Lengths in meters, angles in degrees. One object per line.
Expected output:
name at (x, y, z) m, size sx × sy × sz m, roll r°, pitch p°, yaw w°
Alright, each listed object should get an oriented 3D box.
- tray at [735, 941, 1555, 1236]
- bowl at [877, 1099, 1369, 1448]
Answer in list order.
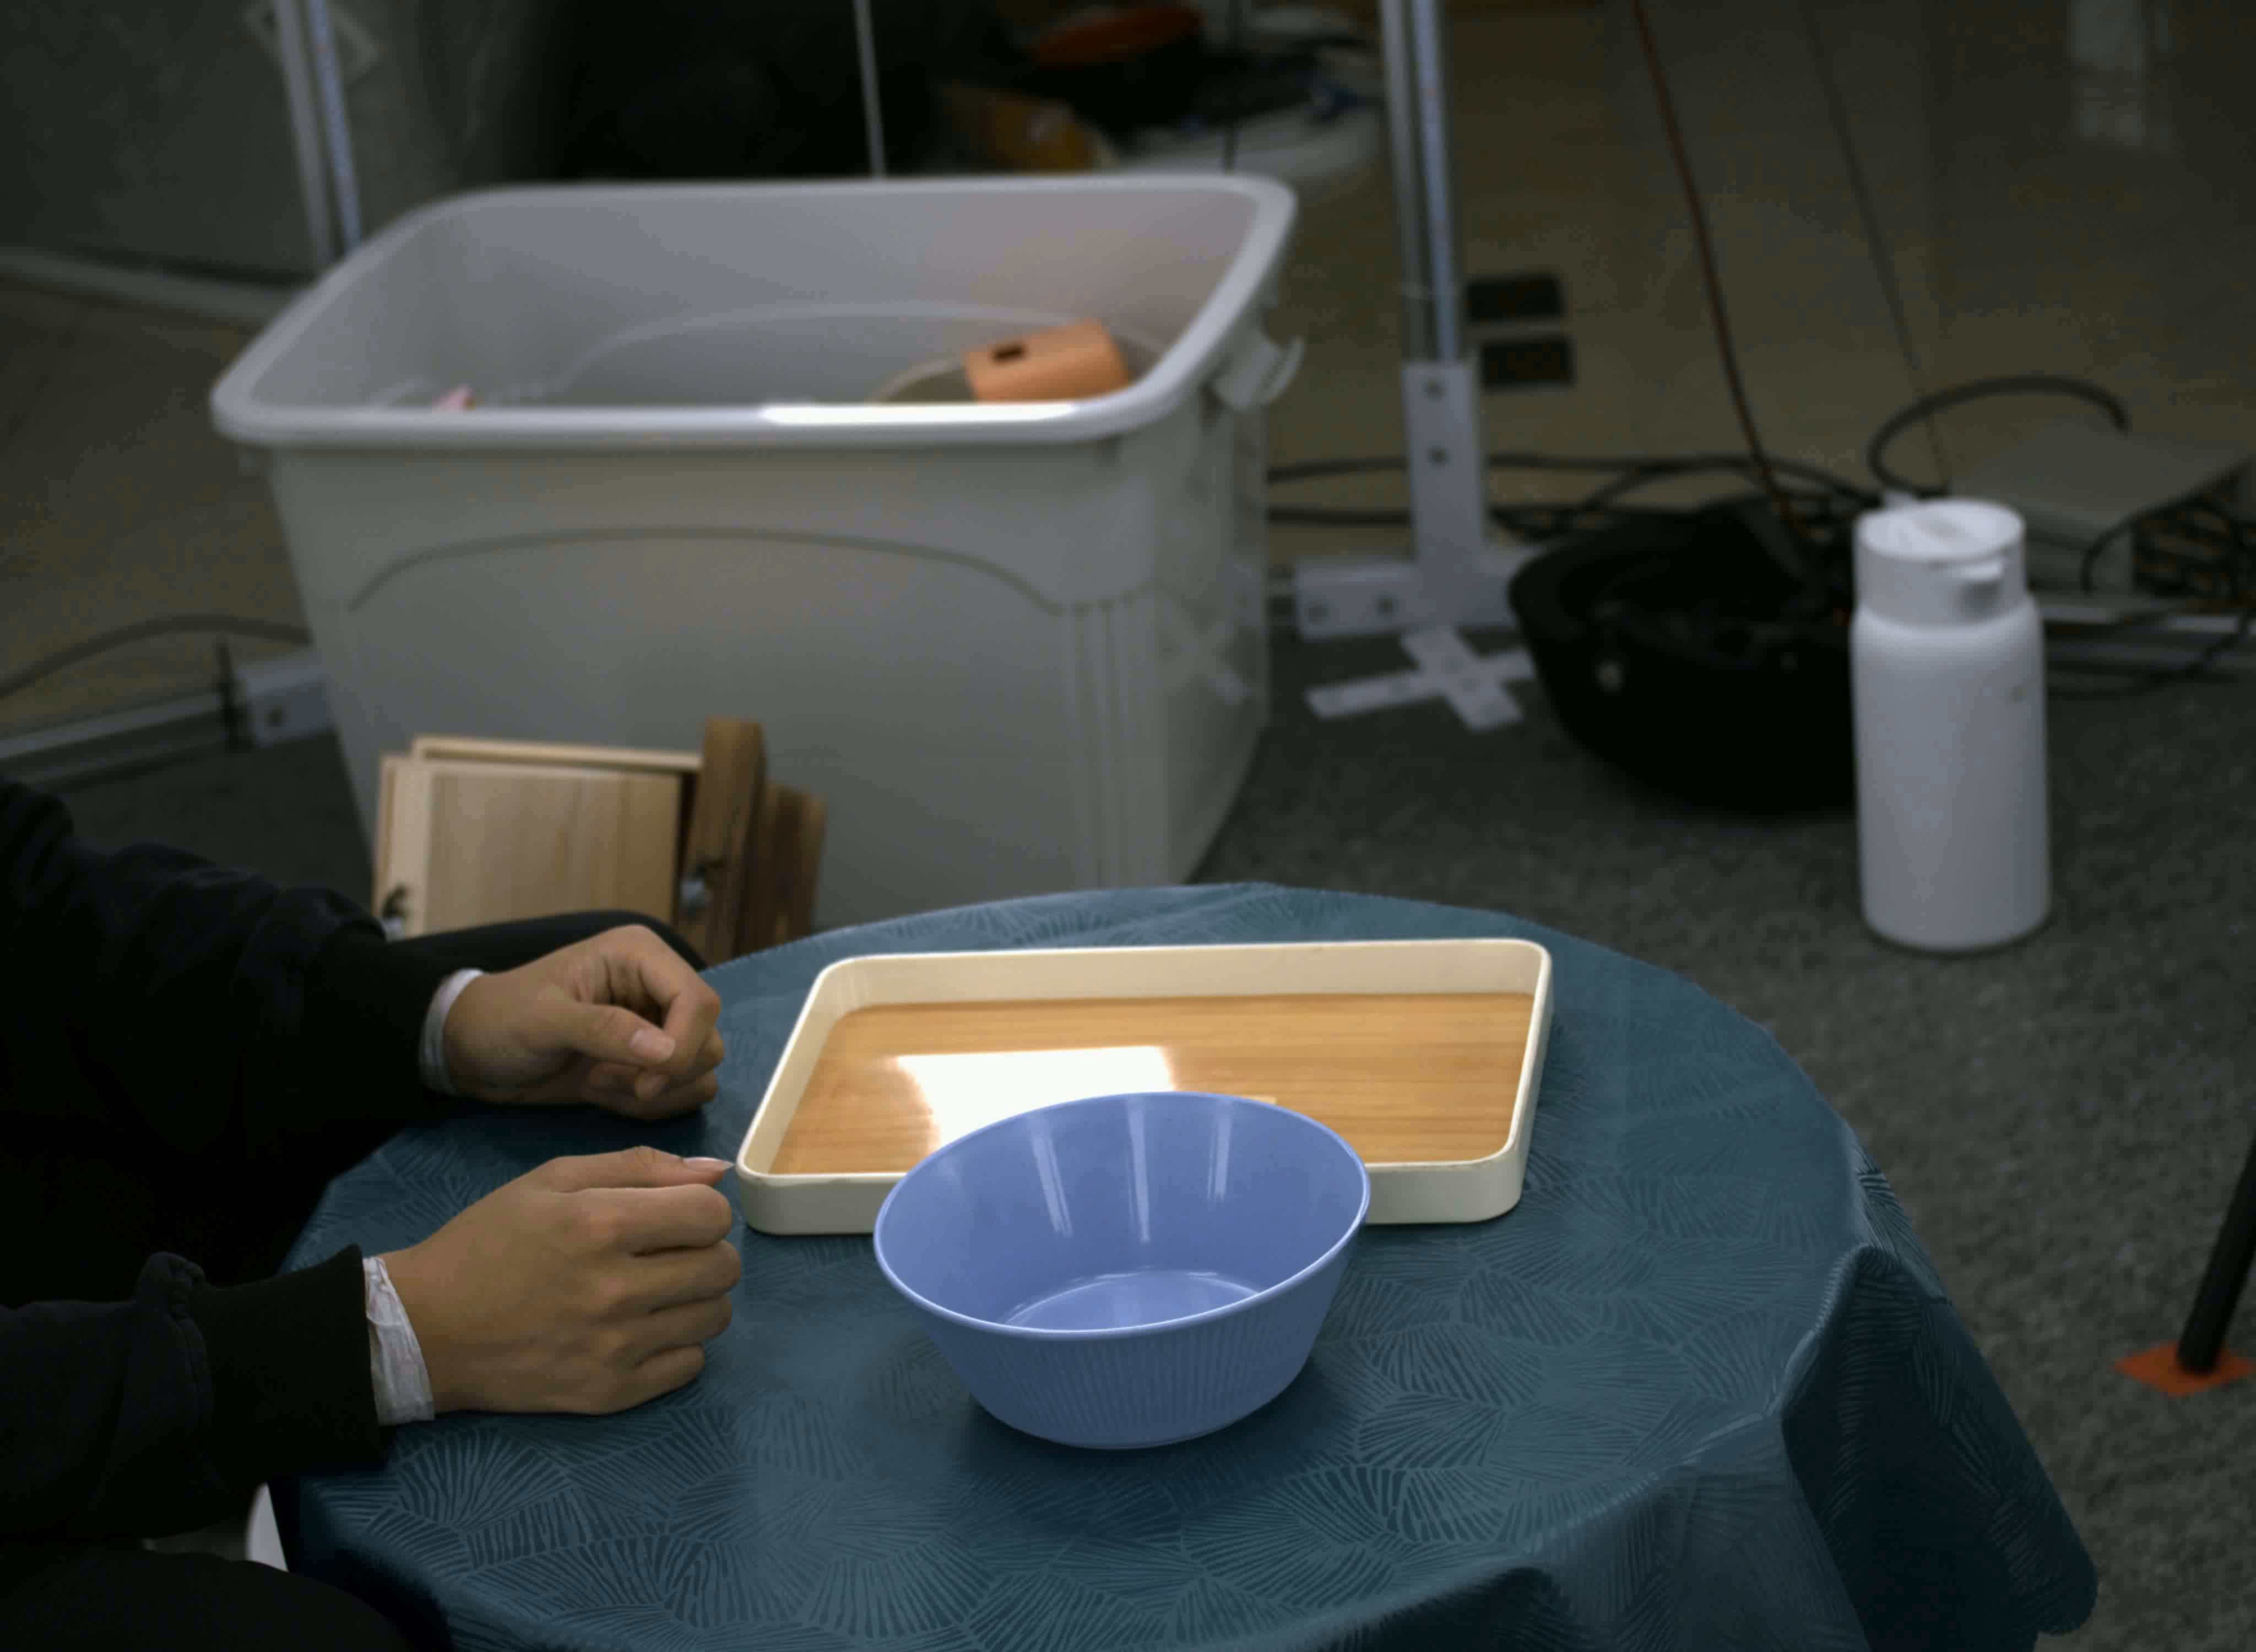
tray at (0.010, 0.101, 2.201) m, size 0.300 × 0.028 × 0.189 m, roll -1°, pitch 26°, yaw 10°
bowl at (0.001, 0.164, 2.013) m, size 0.176 × 0.071 × 0.173 m, roll -5°, pitch 24°, yaw 2°
